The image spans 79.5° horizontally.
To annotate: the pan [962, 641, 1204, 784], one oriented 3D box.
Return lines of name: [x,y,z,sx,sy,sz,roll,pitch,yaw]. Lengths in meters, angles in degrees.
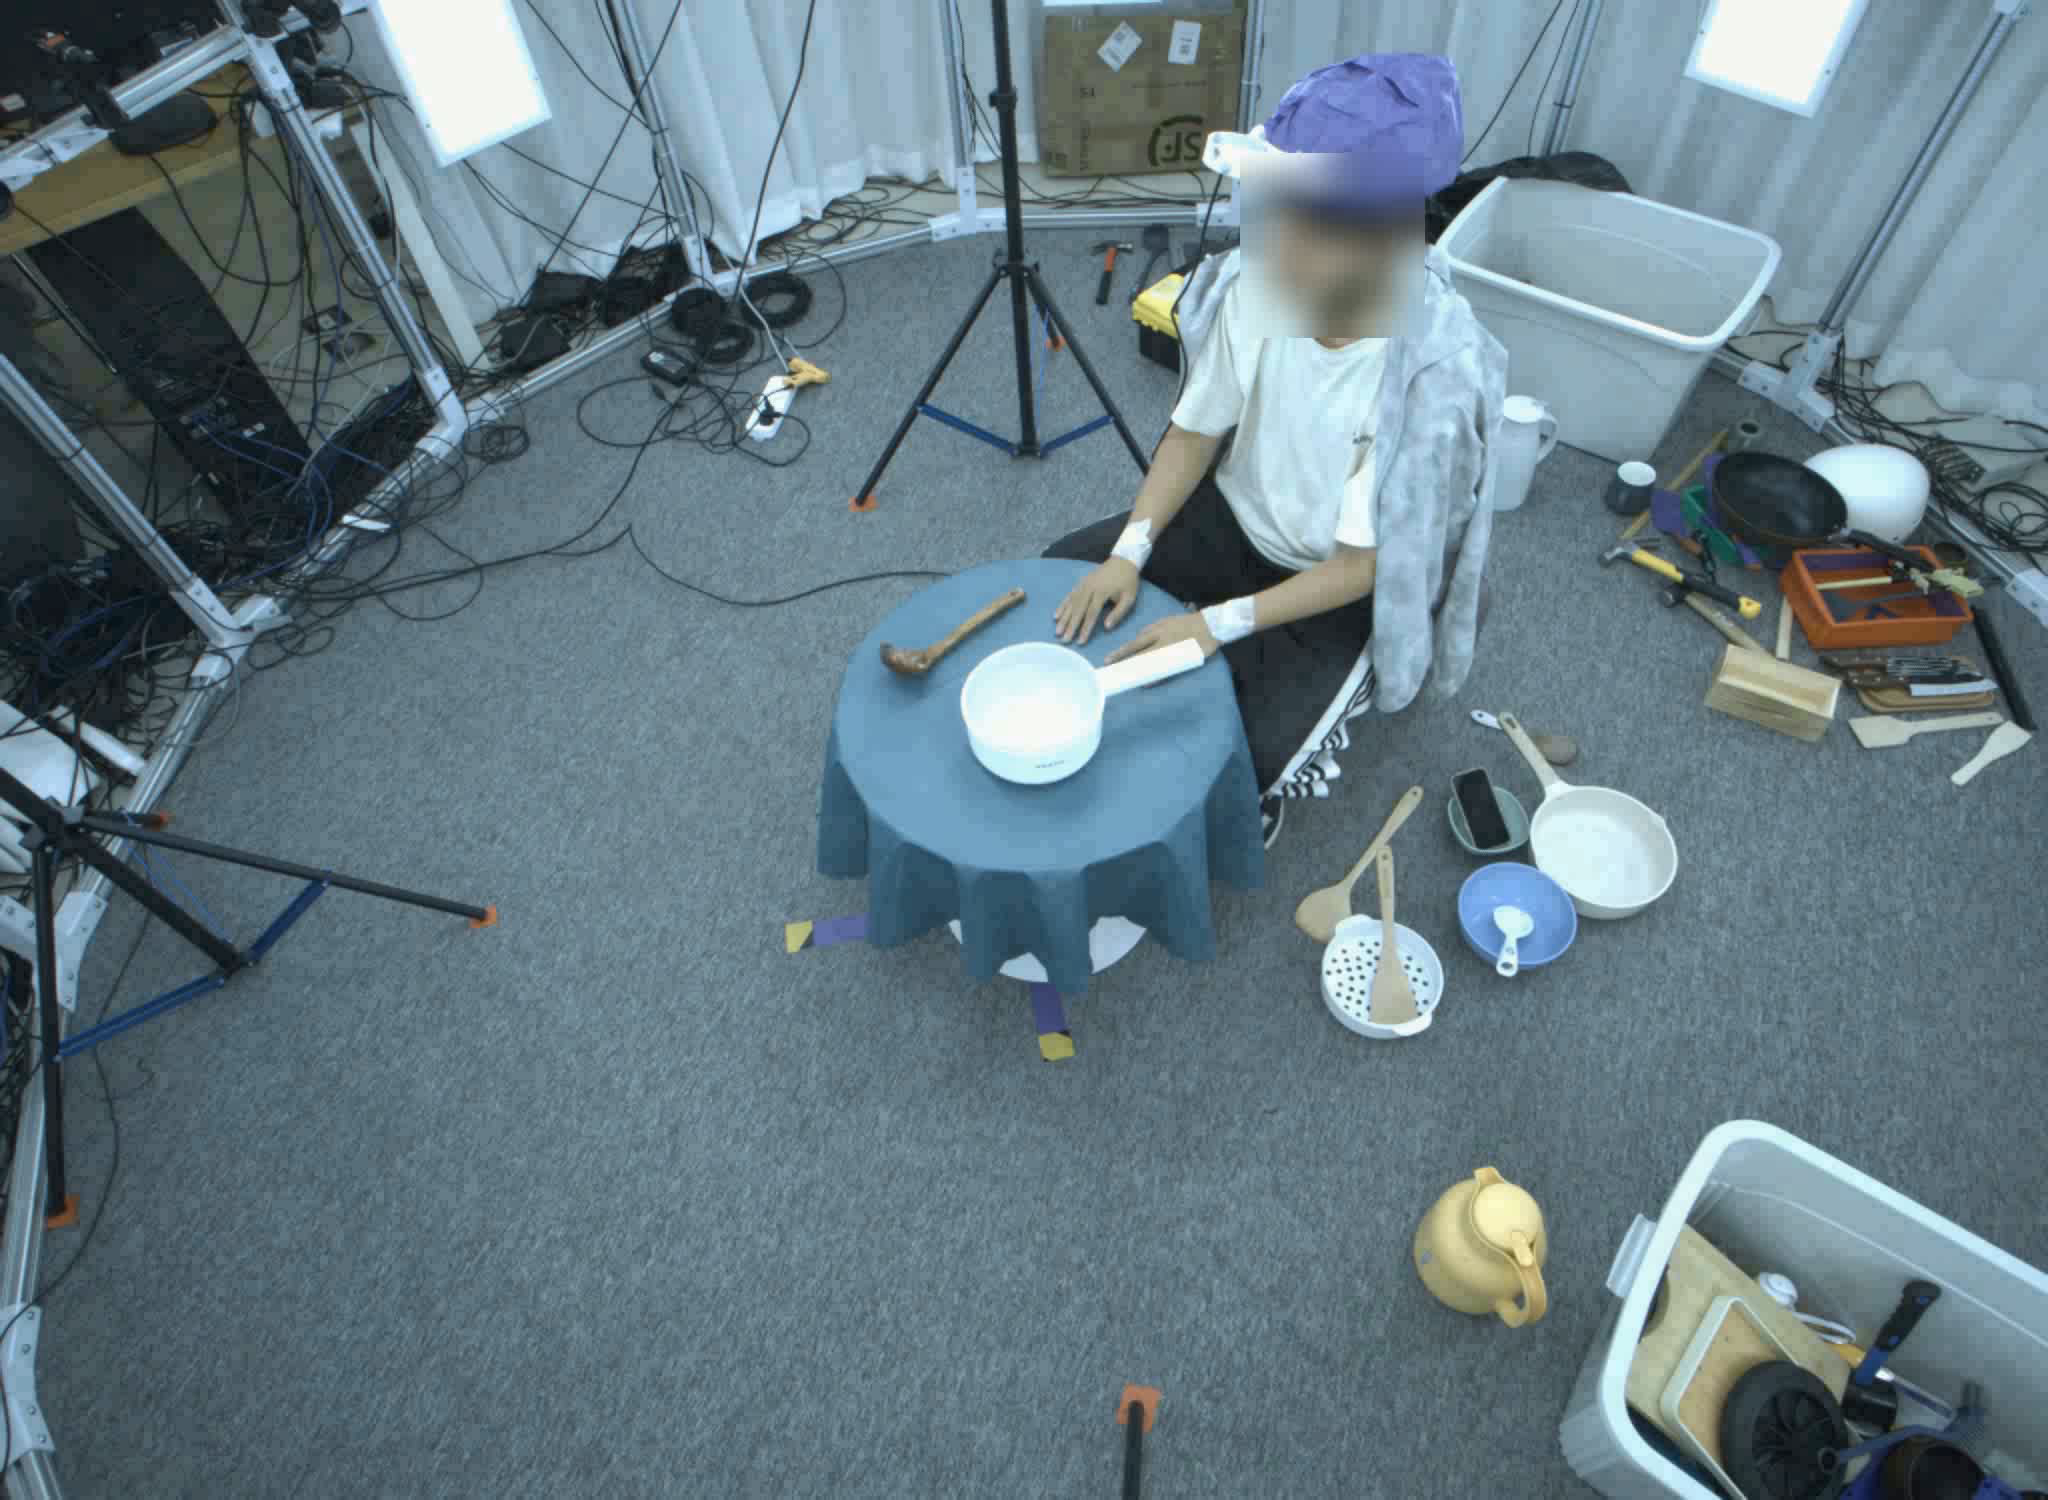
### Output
pan: [0.087,-0.070,1.776,0.357,0.103,0.197,-17,55,-11]

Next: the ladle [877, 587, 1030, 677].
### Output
ladle: [-0.106,-0.198,1.885,0.276,0.077,0.080,-36,59,-20]
